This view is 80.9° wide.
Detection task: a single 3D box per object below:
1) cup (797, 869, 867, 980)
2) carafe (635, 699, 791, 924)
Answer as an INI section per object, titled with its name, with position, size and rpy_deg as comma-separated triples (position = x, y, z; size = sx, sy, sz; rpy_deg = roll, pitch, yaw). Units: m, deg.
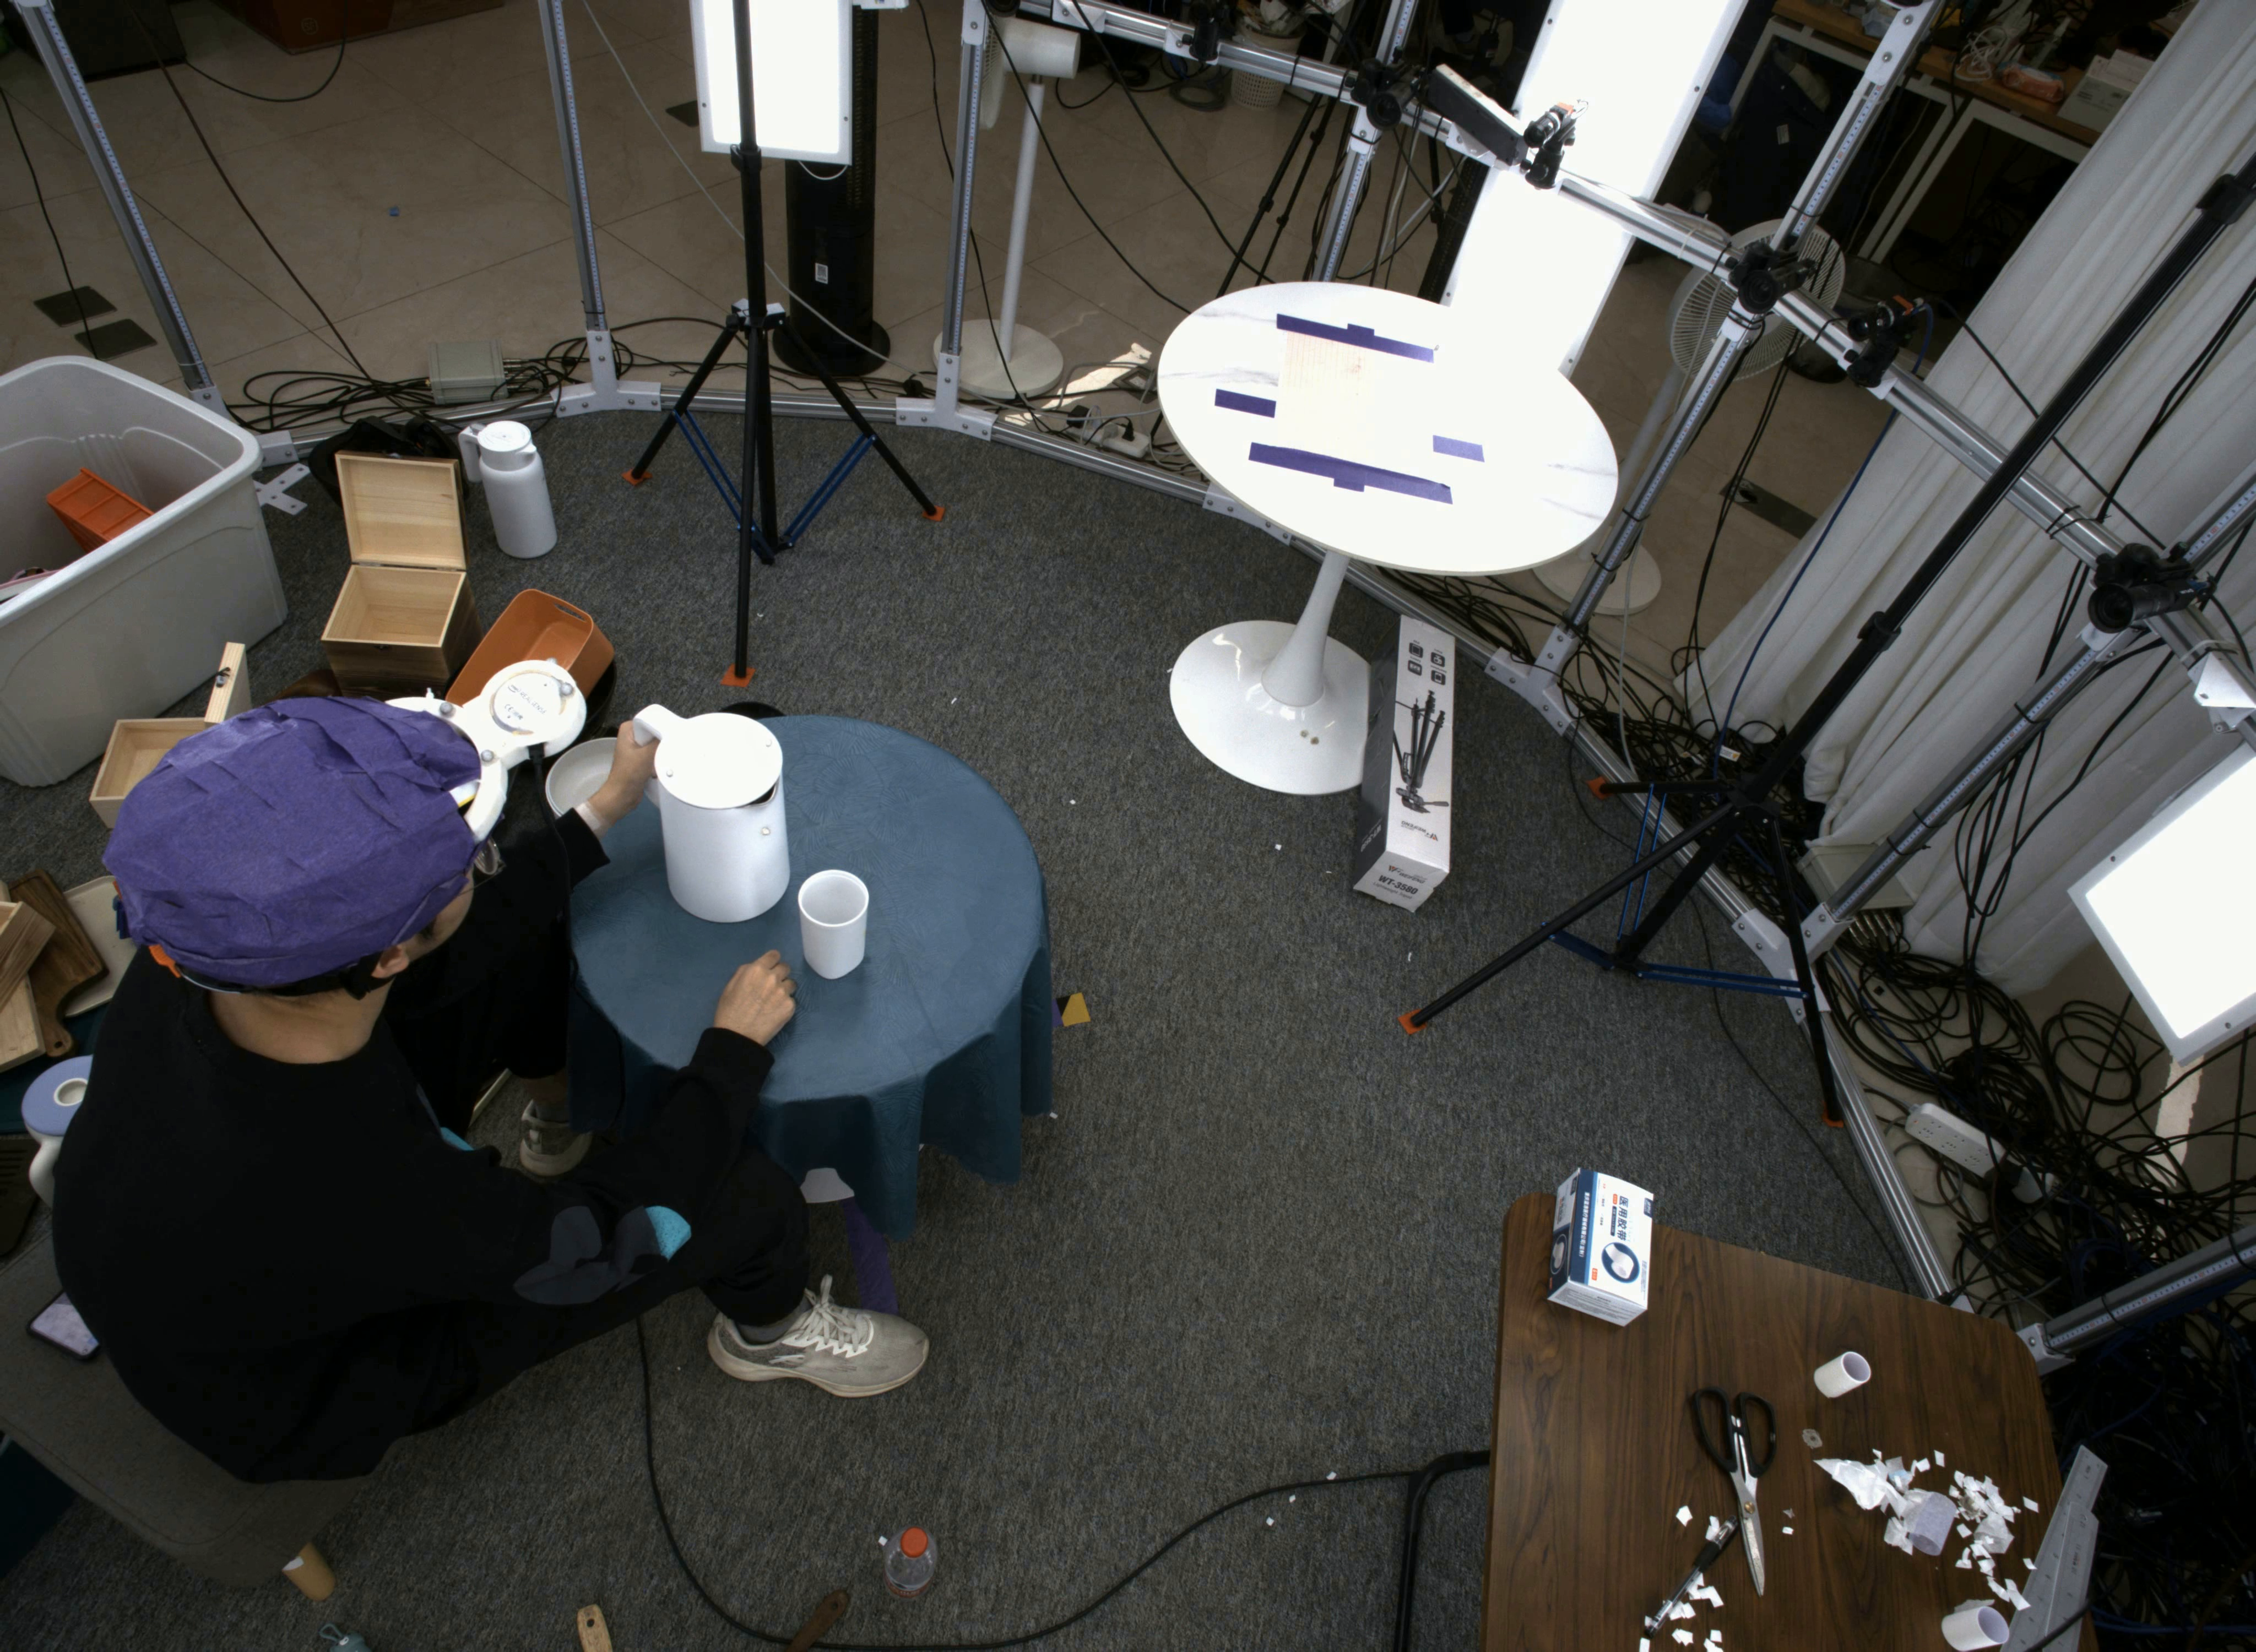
[cup]
position = -0.358, 0.120, 1.578
size = 0.081, 0.128, 0.080
rpy_deg = 6, 52, -7
[carafe]
position = -0.512, -0.026, 1.576
size = 0.209, 0.245, 0.152
rpy_deg = 34, 52, 12
